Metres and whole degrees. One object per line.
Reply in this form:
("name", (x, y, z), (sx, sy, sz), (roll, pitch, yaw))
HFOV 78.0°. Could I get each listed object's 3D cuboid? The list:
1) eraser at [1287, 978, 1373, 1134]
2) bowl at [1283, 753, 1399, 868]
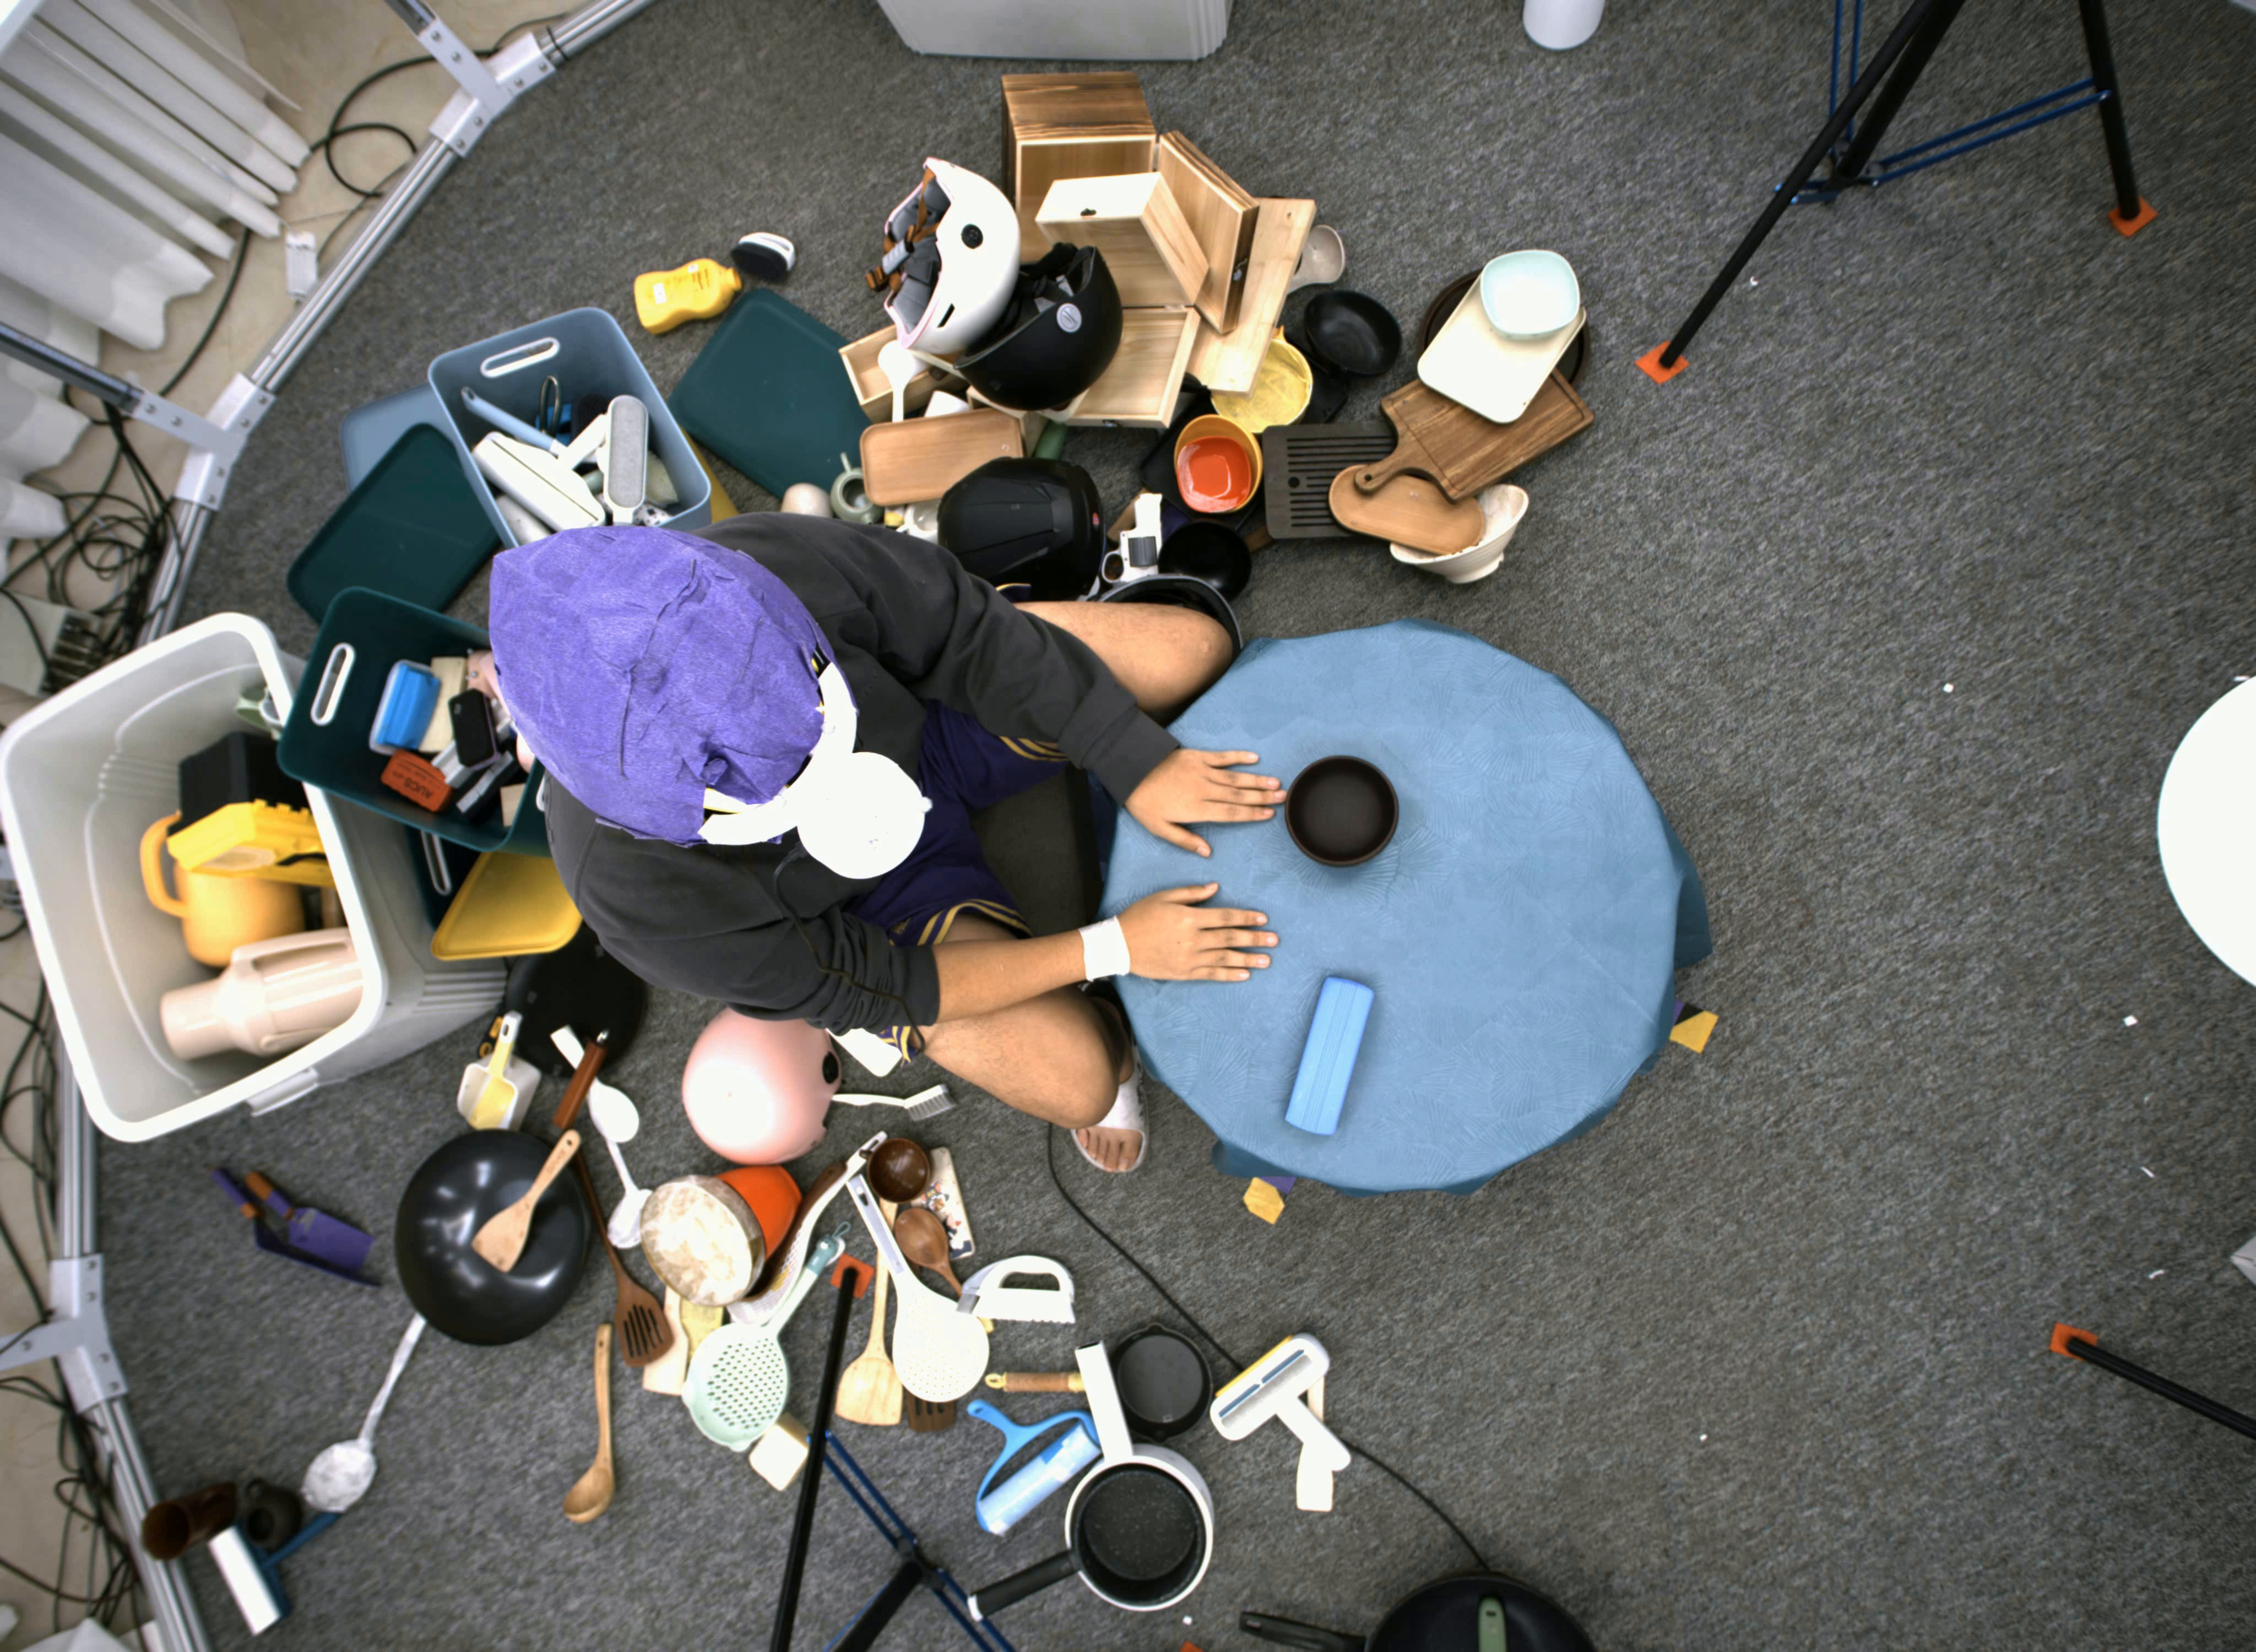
("eraser", (0.210, 0.237, 1.438), (0.054, 0.047, 0.162), (15, 89, 10))
("bowl", (0.222, -0.015, 1.435), (0.118, 0.070, 0.117), (-1, 87, 11))
